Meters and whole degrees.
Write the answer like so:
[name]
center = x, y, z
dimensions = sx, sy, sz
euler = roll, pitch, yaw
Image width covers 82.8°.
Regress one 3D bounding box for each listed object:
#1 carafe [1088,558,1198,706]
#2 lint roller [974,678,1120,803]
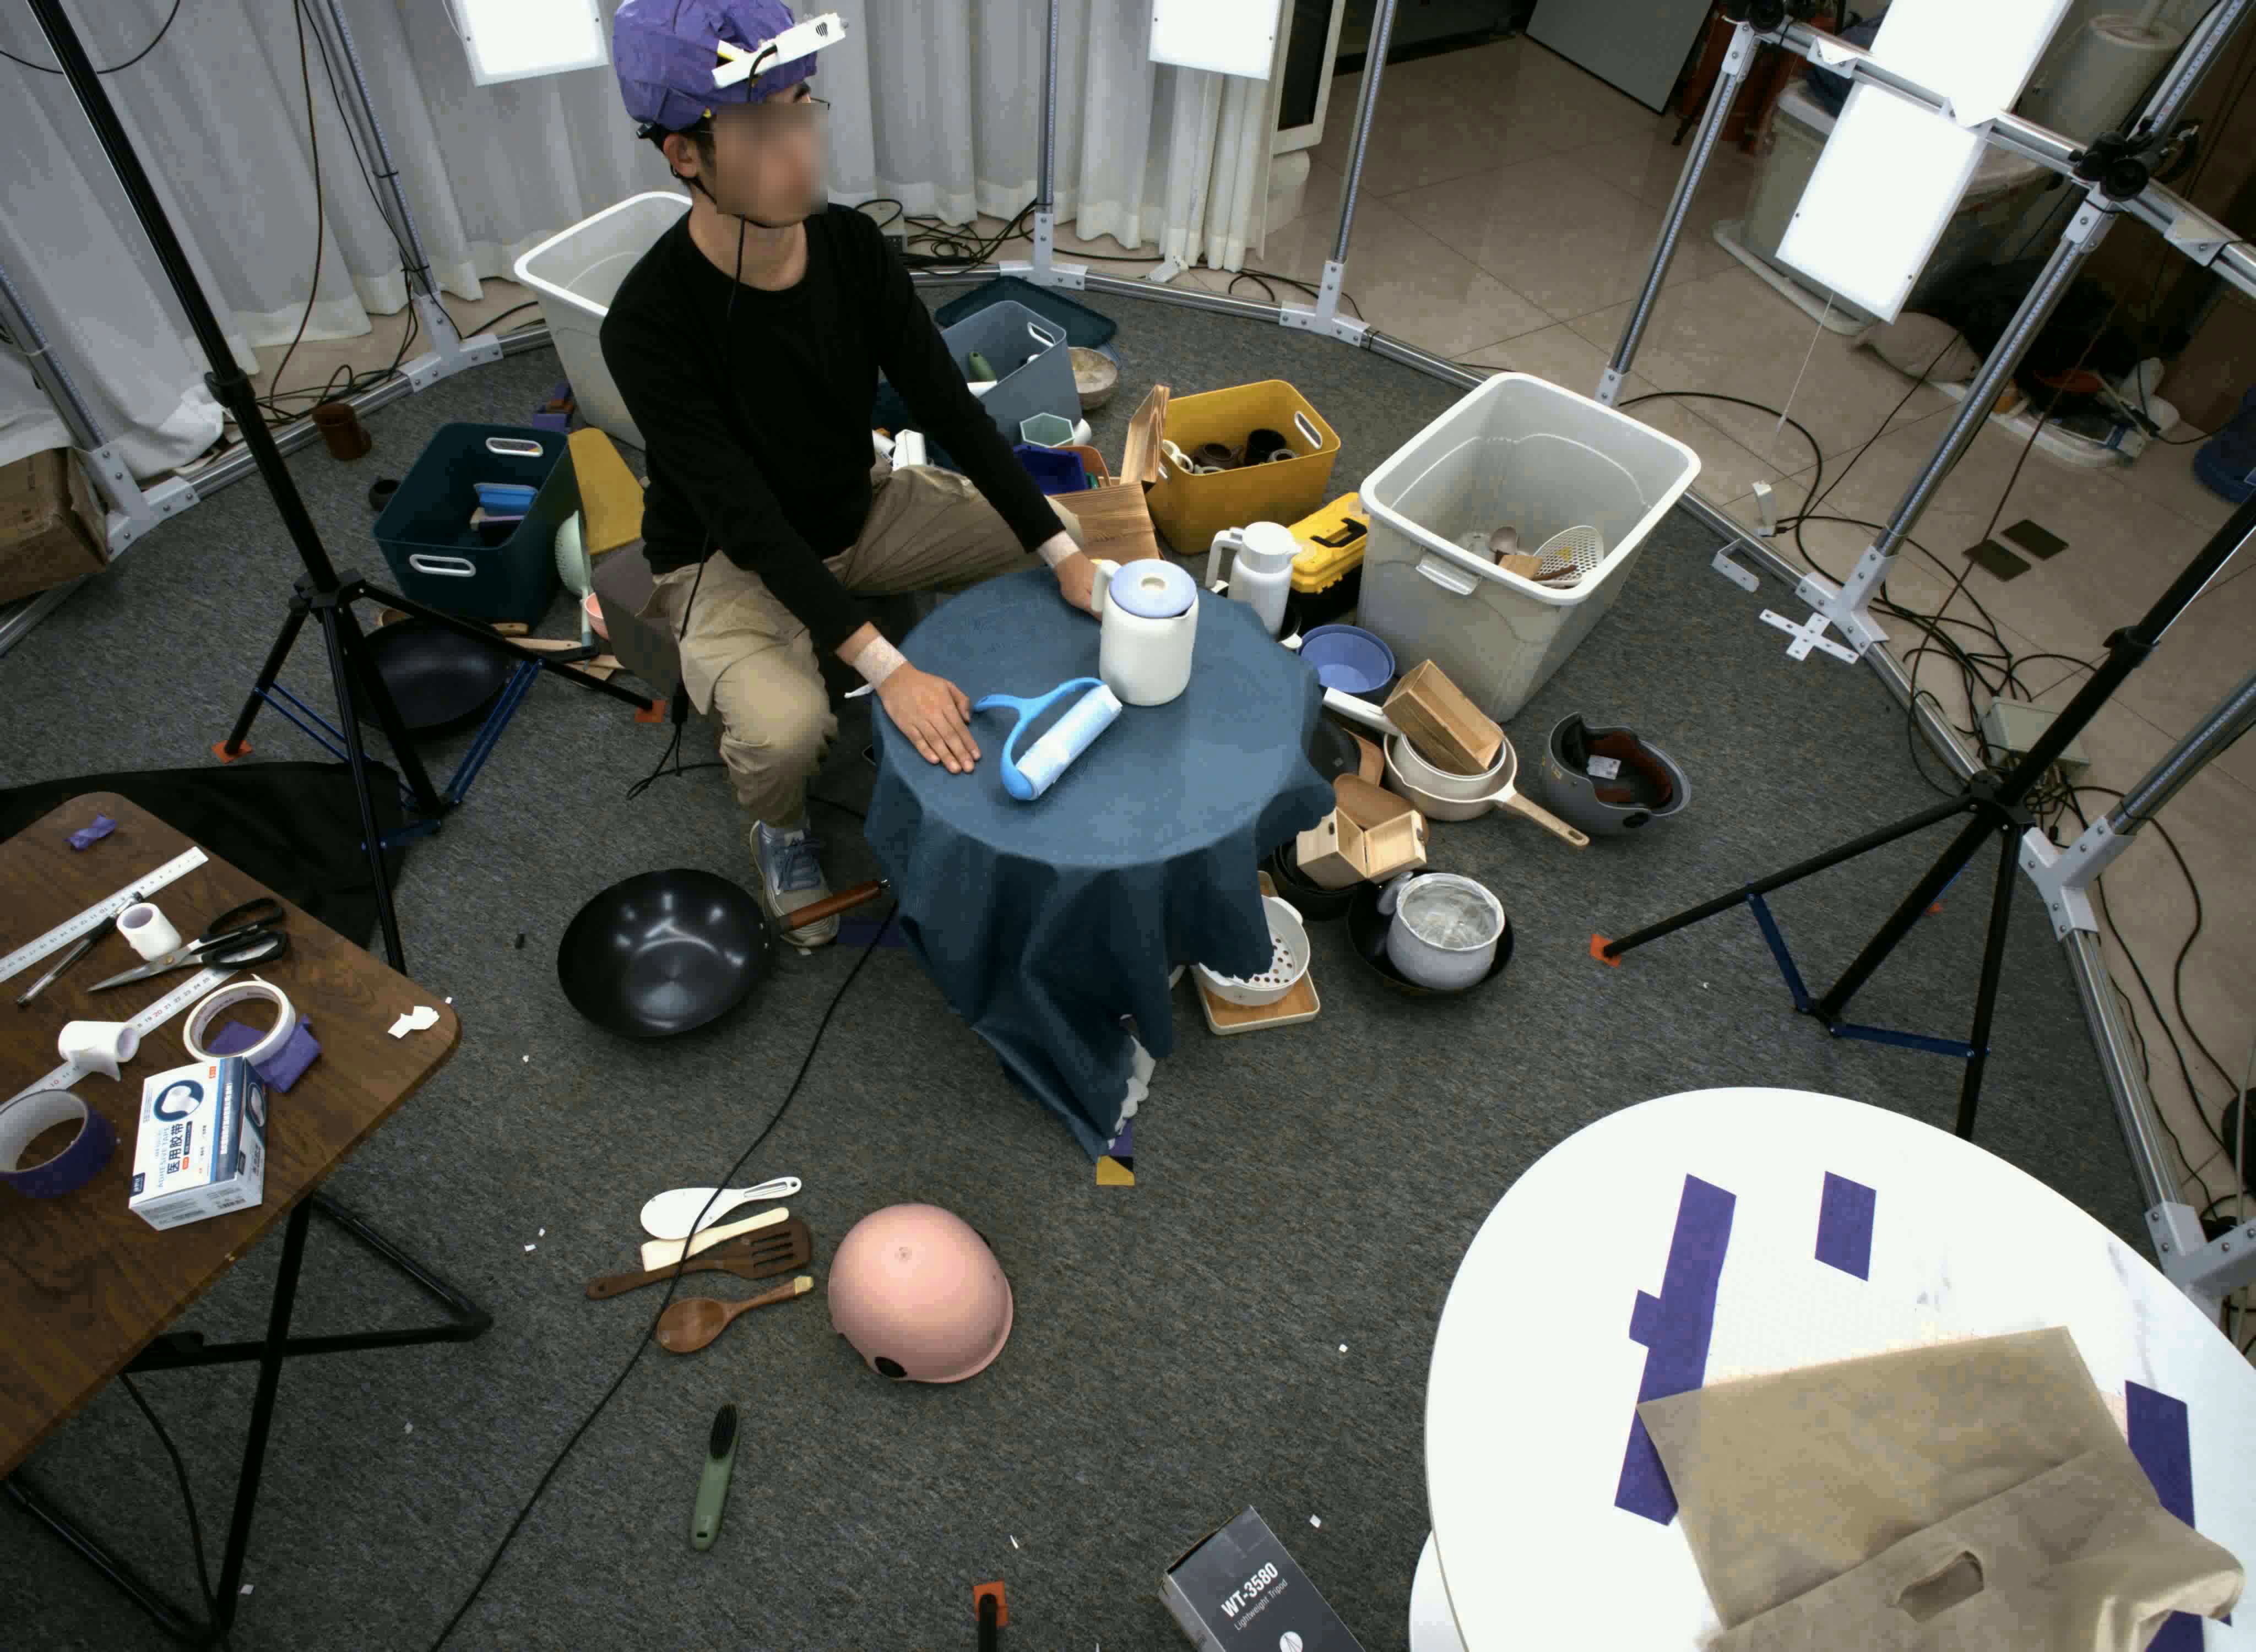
[carafe]
center = 0.012, -0.285, 1.807
dimensions = 0.133, 0.178, 0.194
euler = -32, 56, -28
[lint roller]
center = -0.136, -0.143, 1.746
dimensions = 0.181, 0.066, 0.232
euler = 31, 57, 13
